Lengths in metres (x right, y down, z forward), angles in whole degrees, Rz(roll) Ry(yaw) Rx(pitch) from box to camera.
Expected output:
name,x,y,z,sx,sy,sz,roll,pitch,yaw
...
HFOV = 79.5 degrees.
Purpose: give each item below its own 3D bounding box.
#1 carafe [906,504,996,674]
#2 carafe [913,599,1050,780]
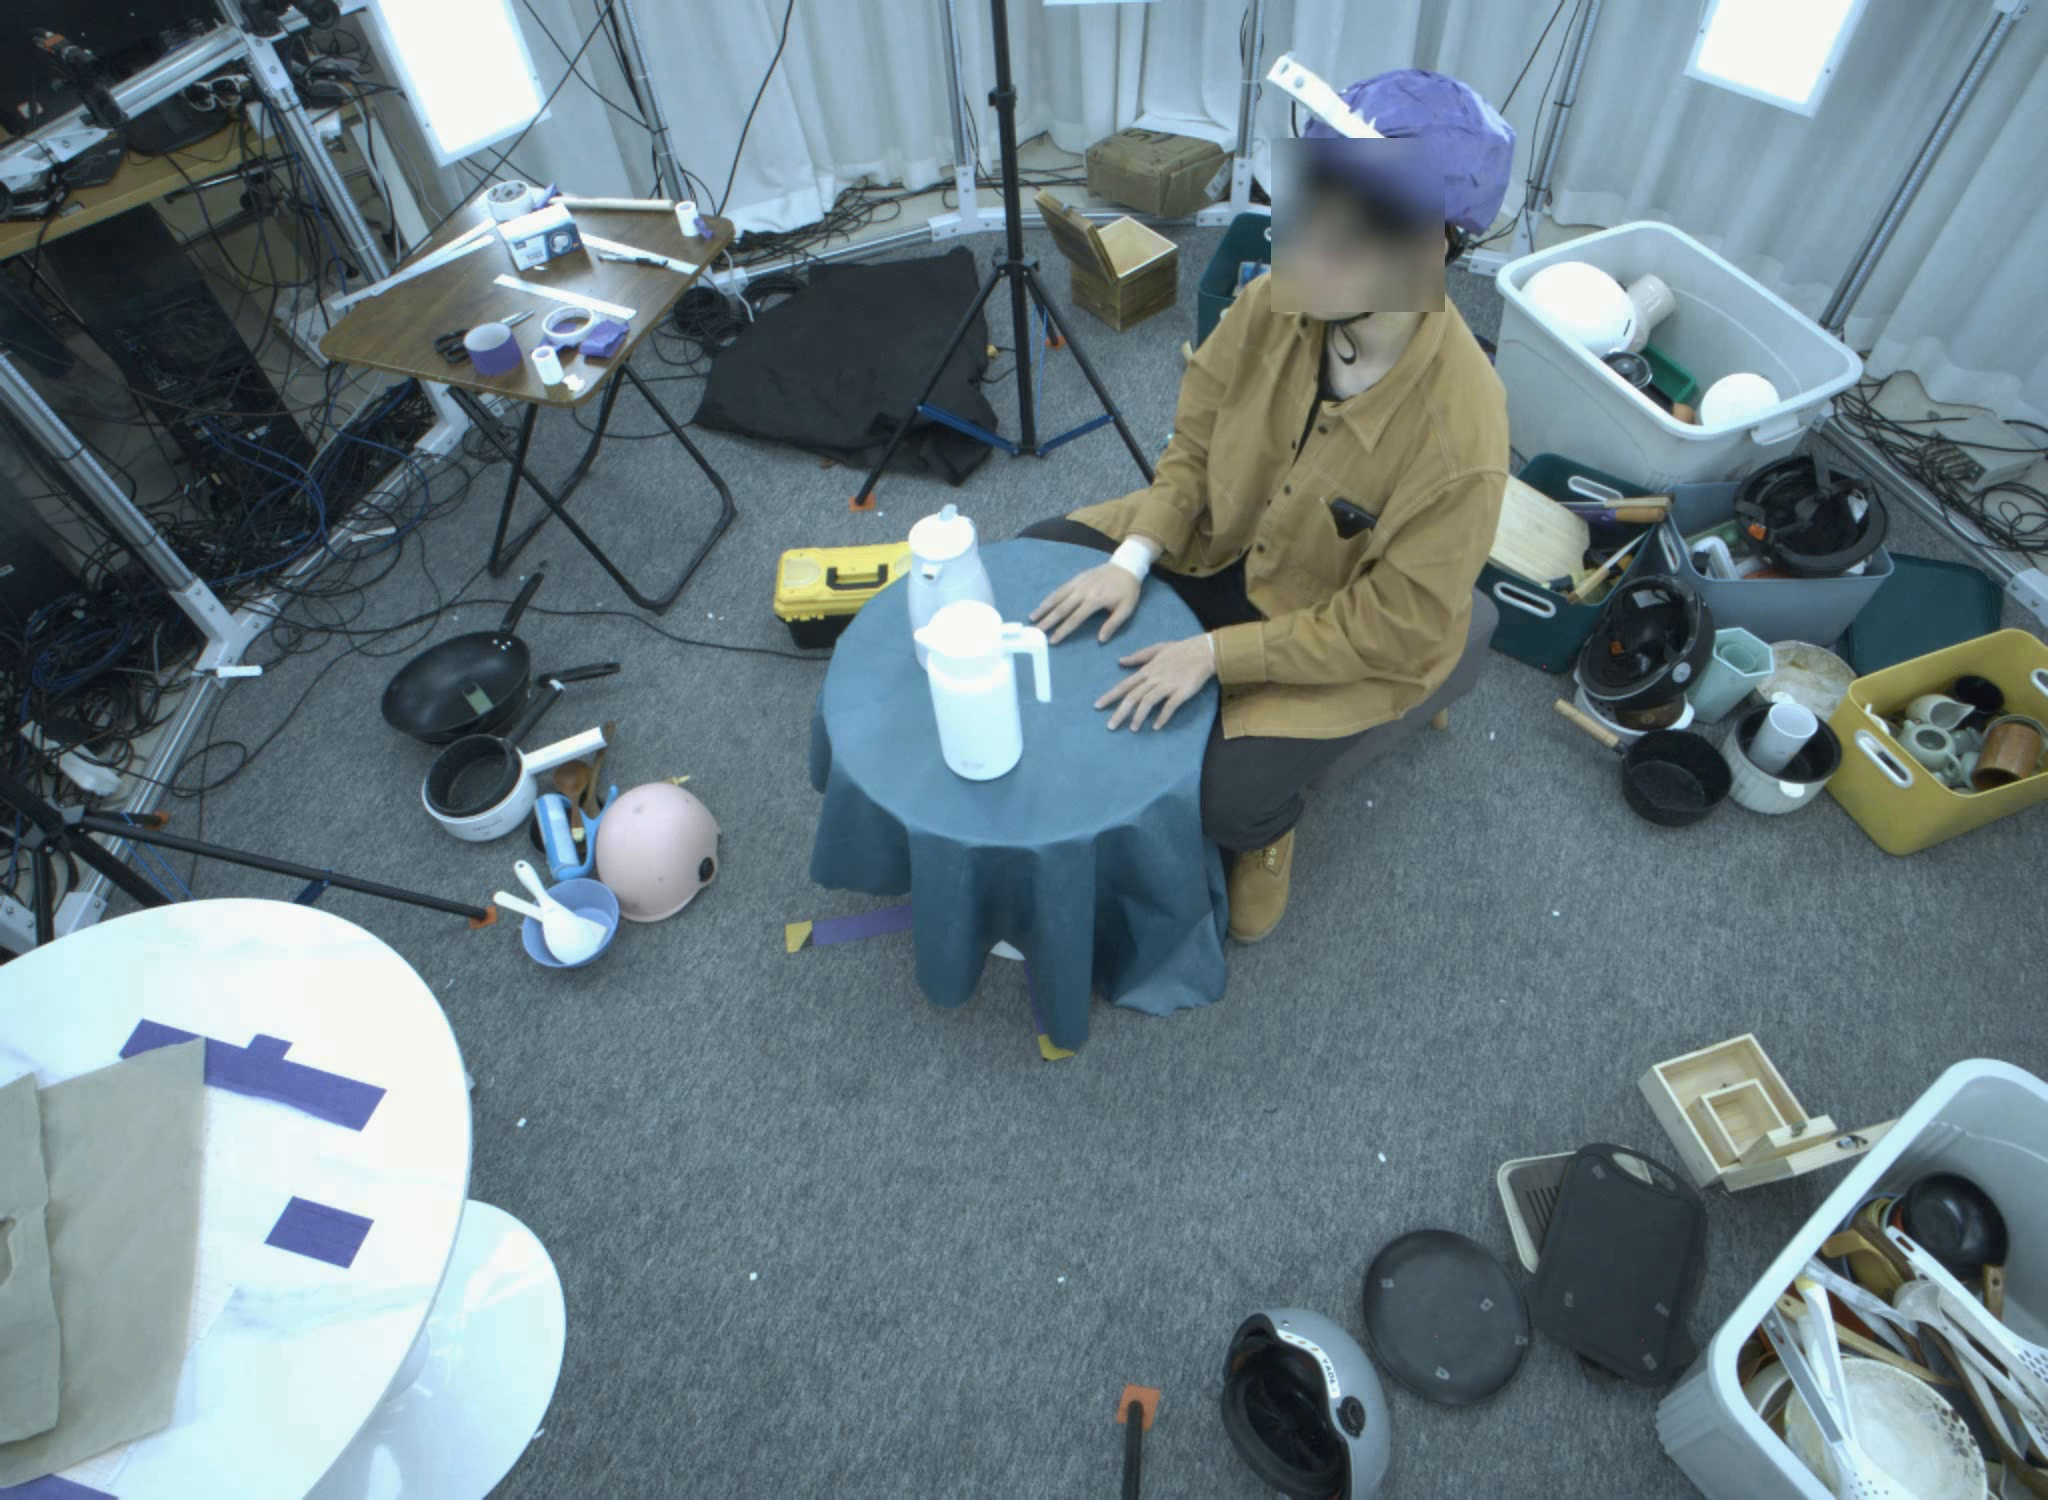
name,x,y,z,sx,sy,sz,roll,pitch,yaw
carafe,-0.107,-0.246,1.809,0.131,0.251,0.167,11,55,11
carafe,-0.051,-0.080,1.677,0.173,0.272,0.122,-3,52,1
